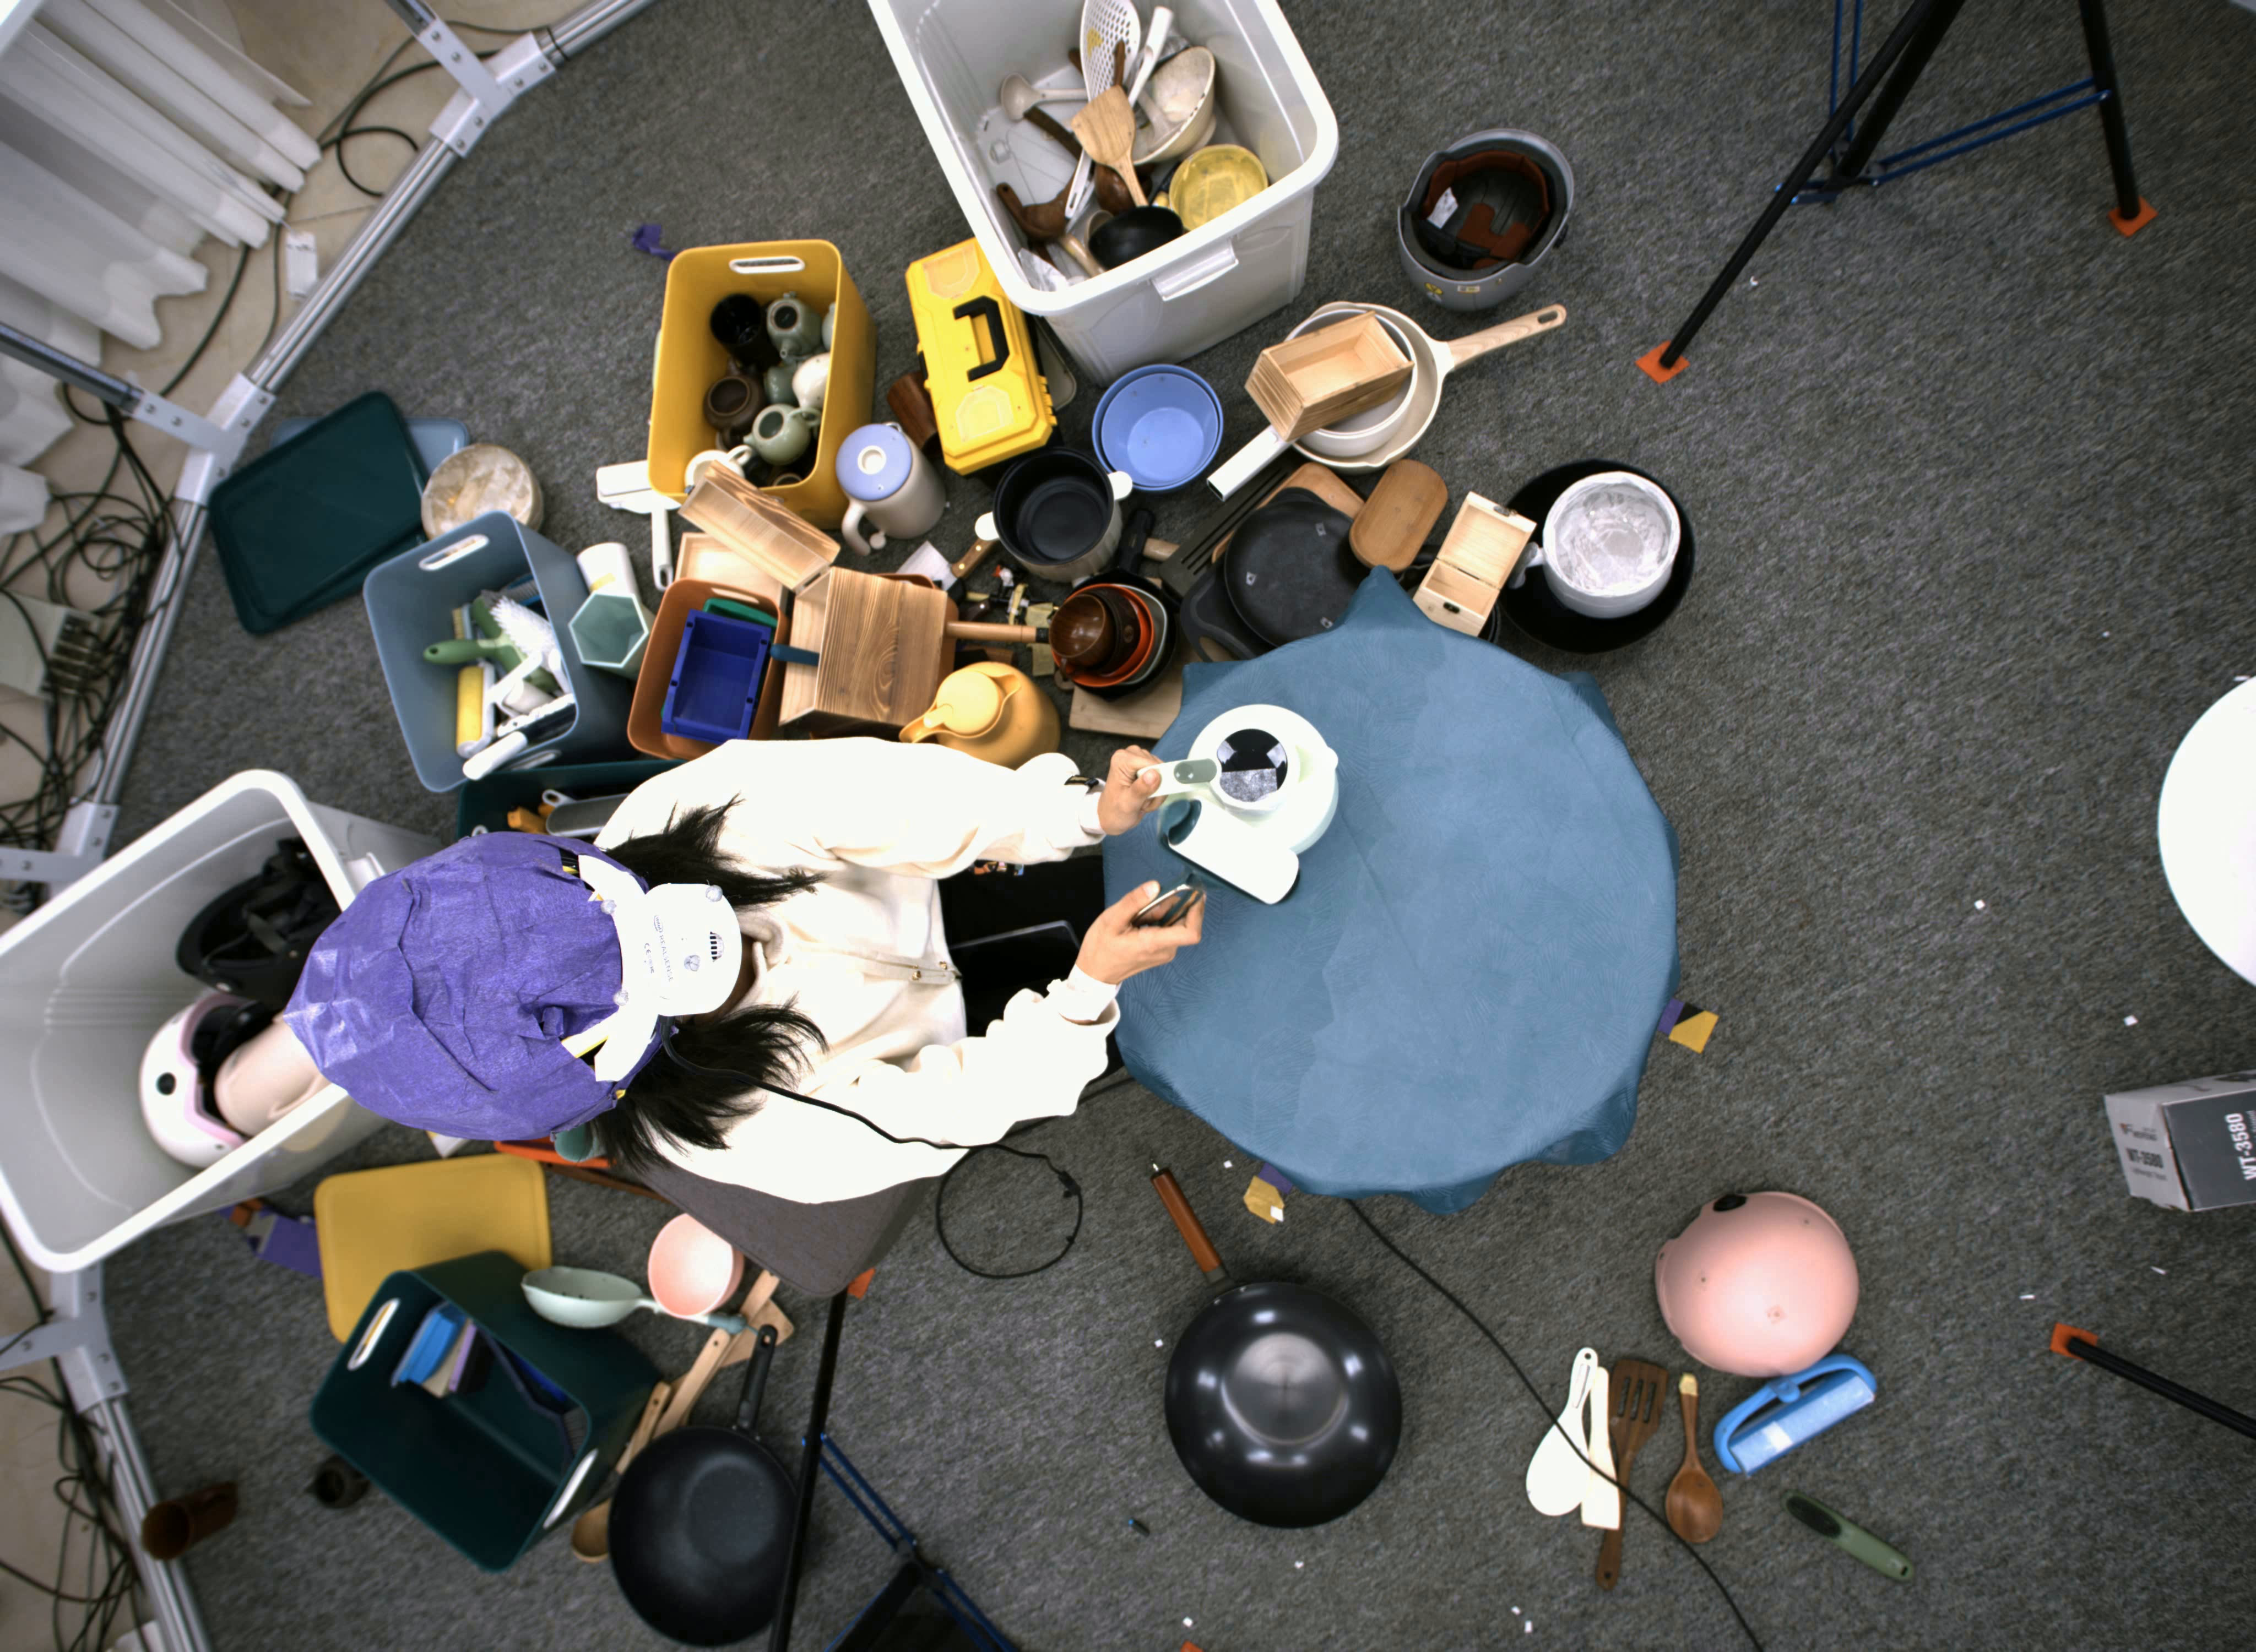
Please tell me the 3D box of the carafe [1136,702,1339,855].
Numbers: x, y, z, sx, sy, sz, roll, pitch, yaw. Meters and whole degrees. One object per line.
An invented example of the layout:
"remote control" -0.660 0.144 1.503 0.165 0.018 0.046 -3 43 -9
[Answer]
"carafe" 0.109 -0.045 1.298 0.188 0.256 0.144 -6 88 12

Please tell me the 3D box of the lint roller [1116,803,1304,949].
"lint roller" 0.047 0.064 1.164 0.135 0.047 0.184 30 126 -22
